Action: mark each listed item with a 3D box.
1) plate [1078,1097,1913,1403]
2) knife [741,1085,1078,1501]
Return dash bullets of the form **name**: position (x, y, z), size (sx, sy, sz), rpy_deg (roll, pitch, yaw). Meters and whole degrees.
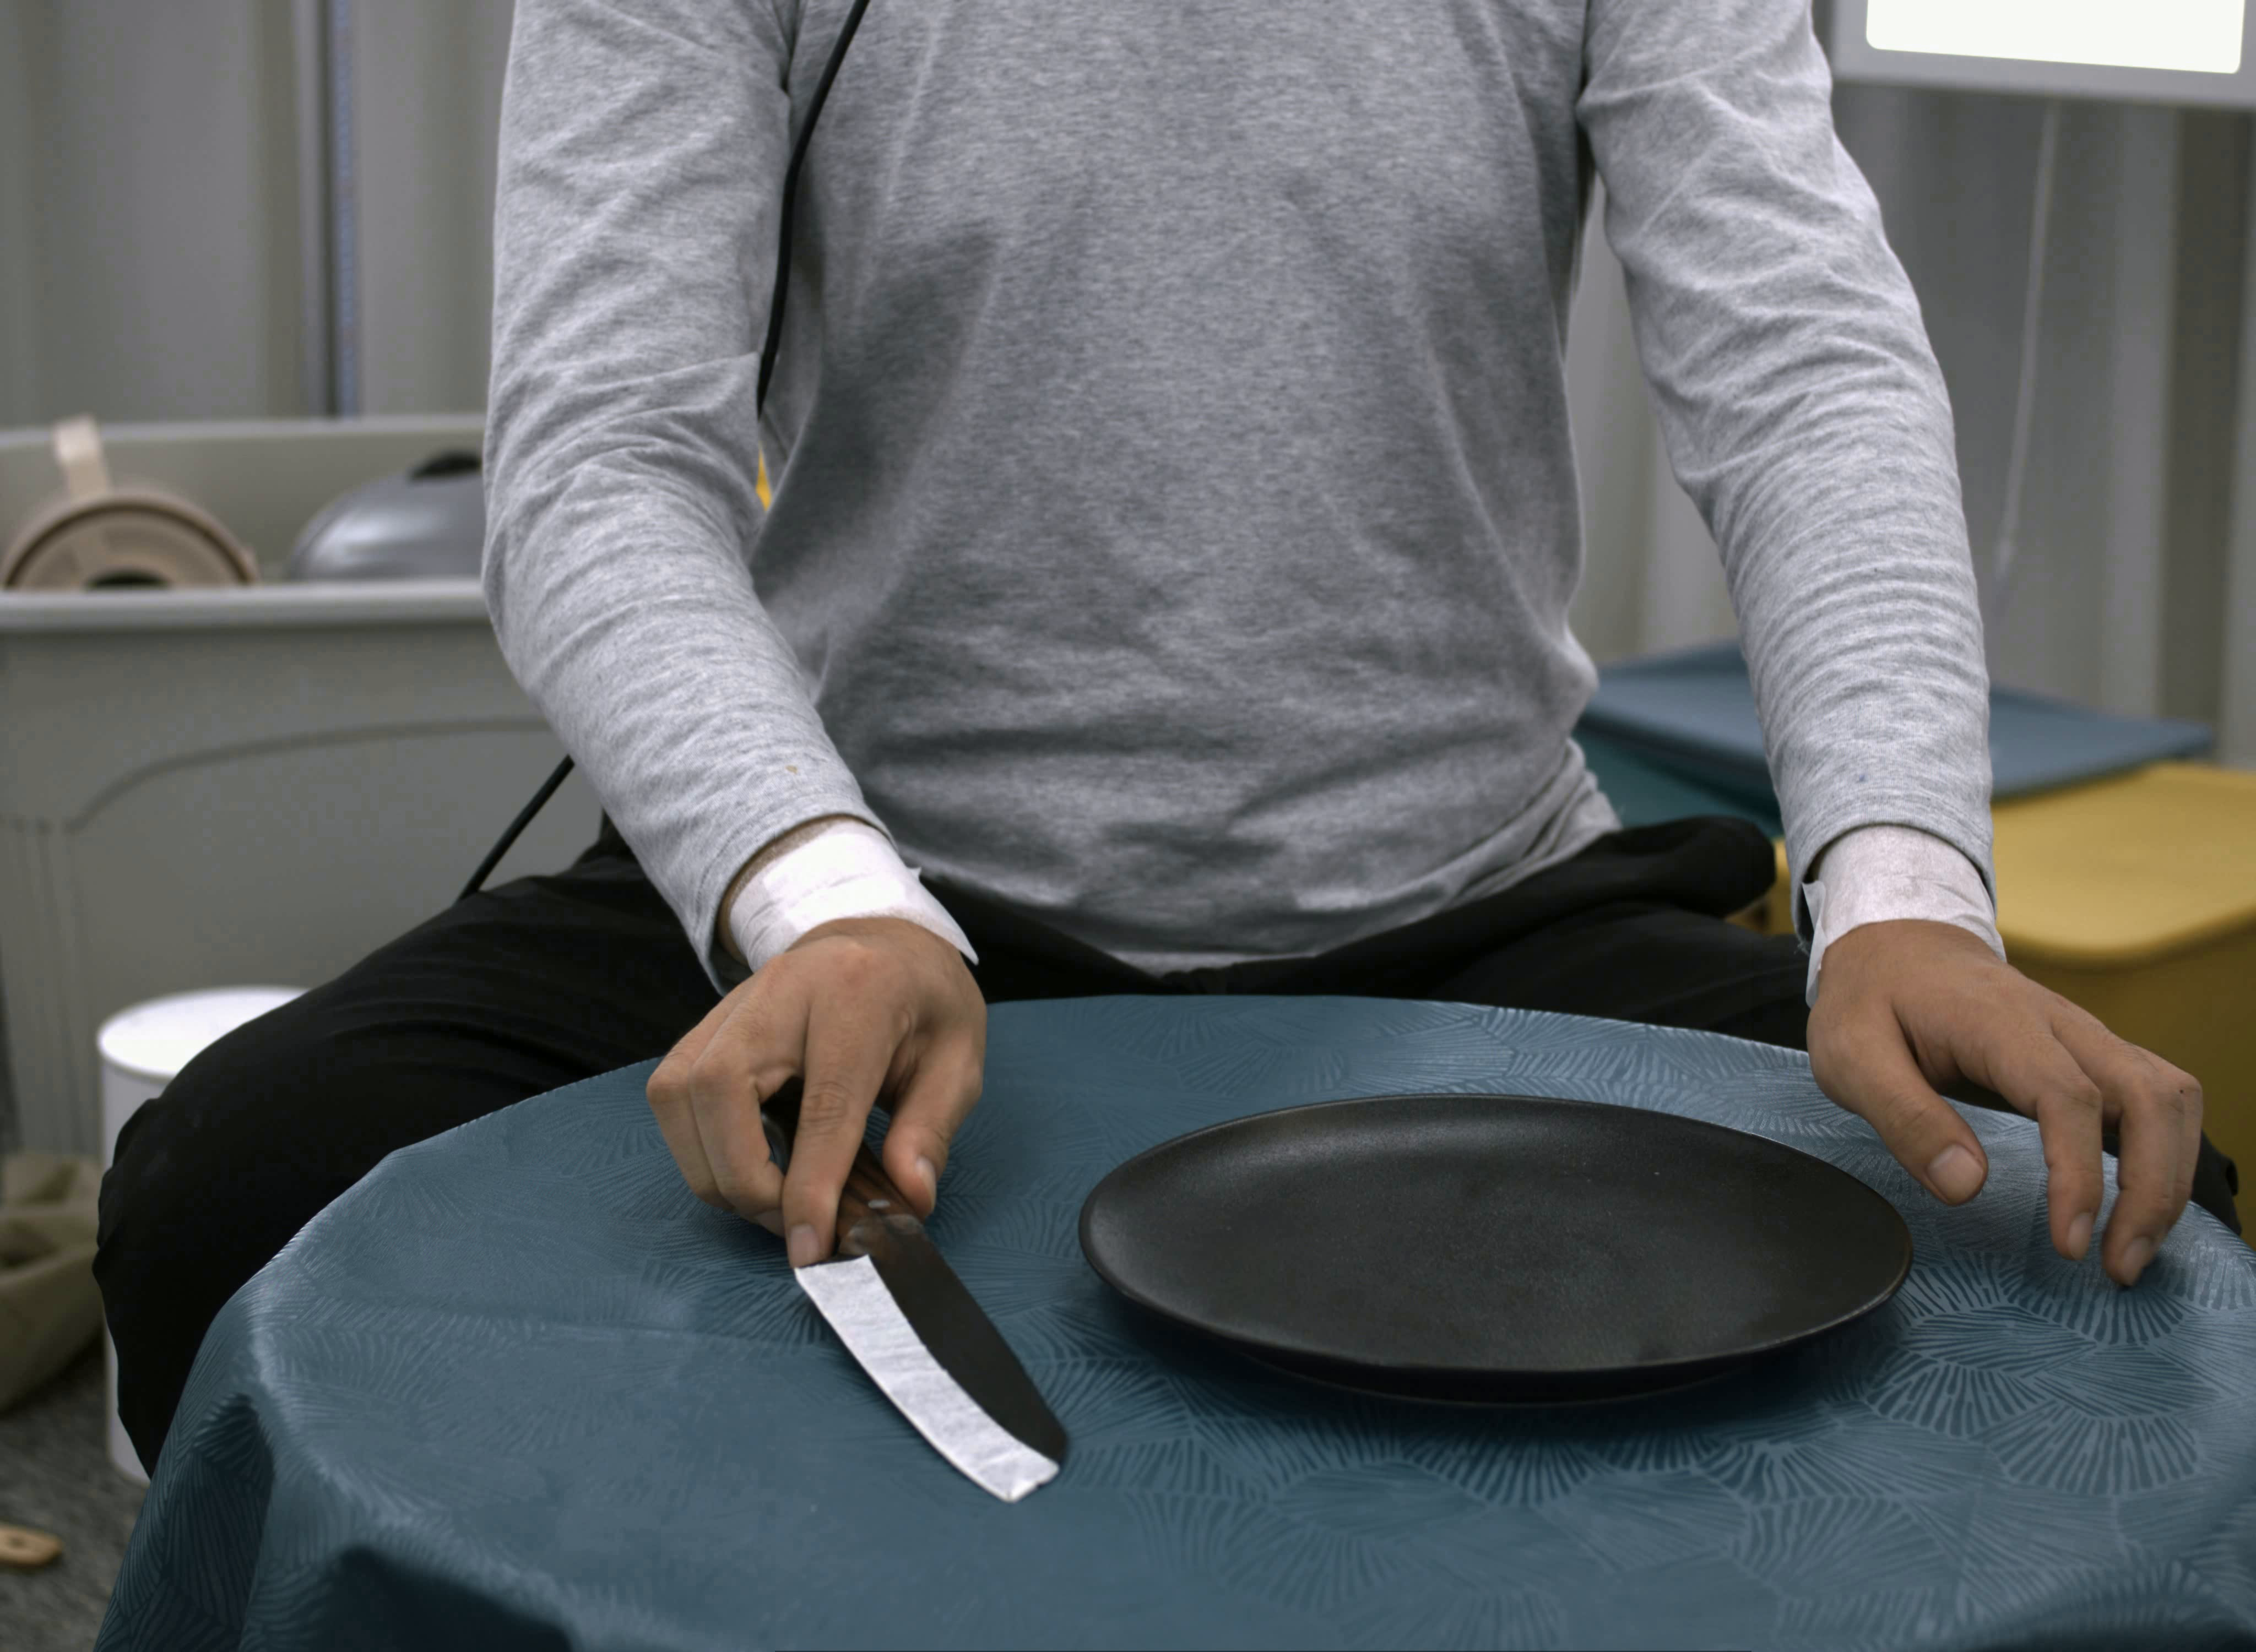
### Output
- **plate**: position (0.106, 0.126, 1.538), size (0.243, 0.023, 0.243), rpy_deg (0, 15, 0)
- **knife**: position (-0.068, 0.133, 1.514), size (0.050, 0.020, 0.286), rpy_deg (-8, 20, -15)
